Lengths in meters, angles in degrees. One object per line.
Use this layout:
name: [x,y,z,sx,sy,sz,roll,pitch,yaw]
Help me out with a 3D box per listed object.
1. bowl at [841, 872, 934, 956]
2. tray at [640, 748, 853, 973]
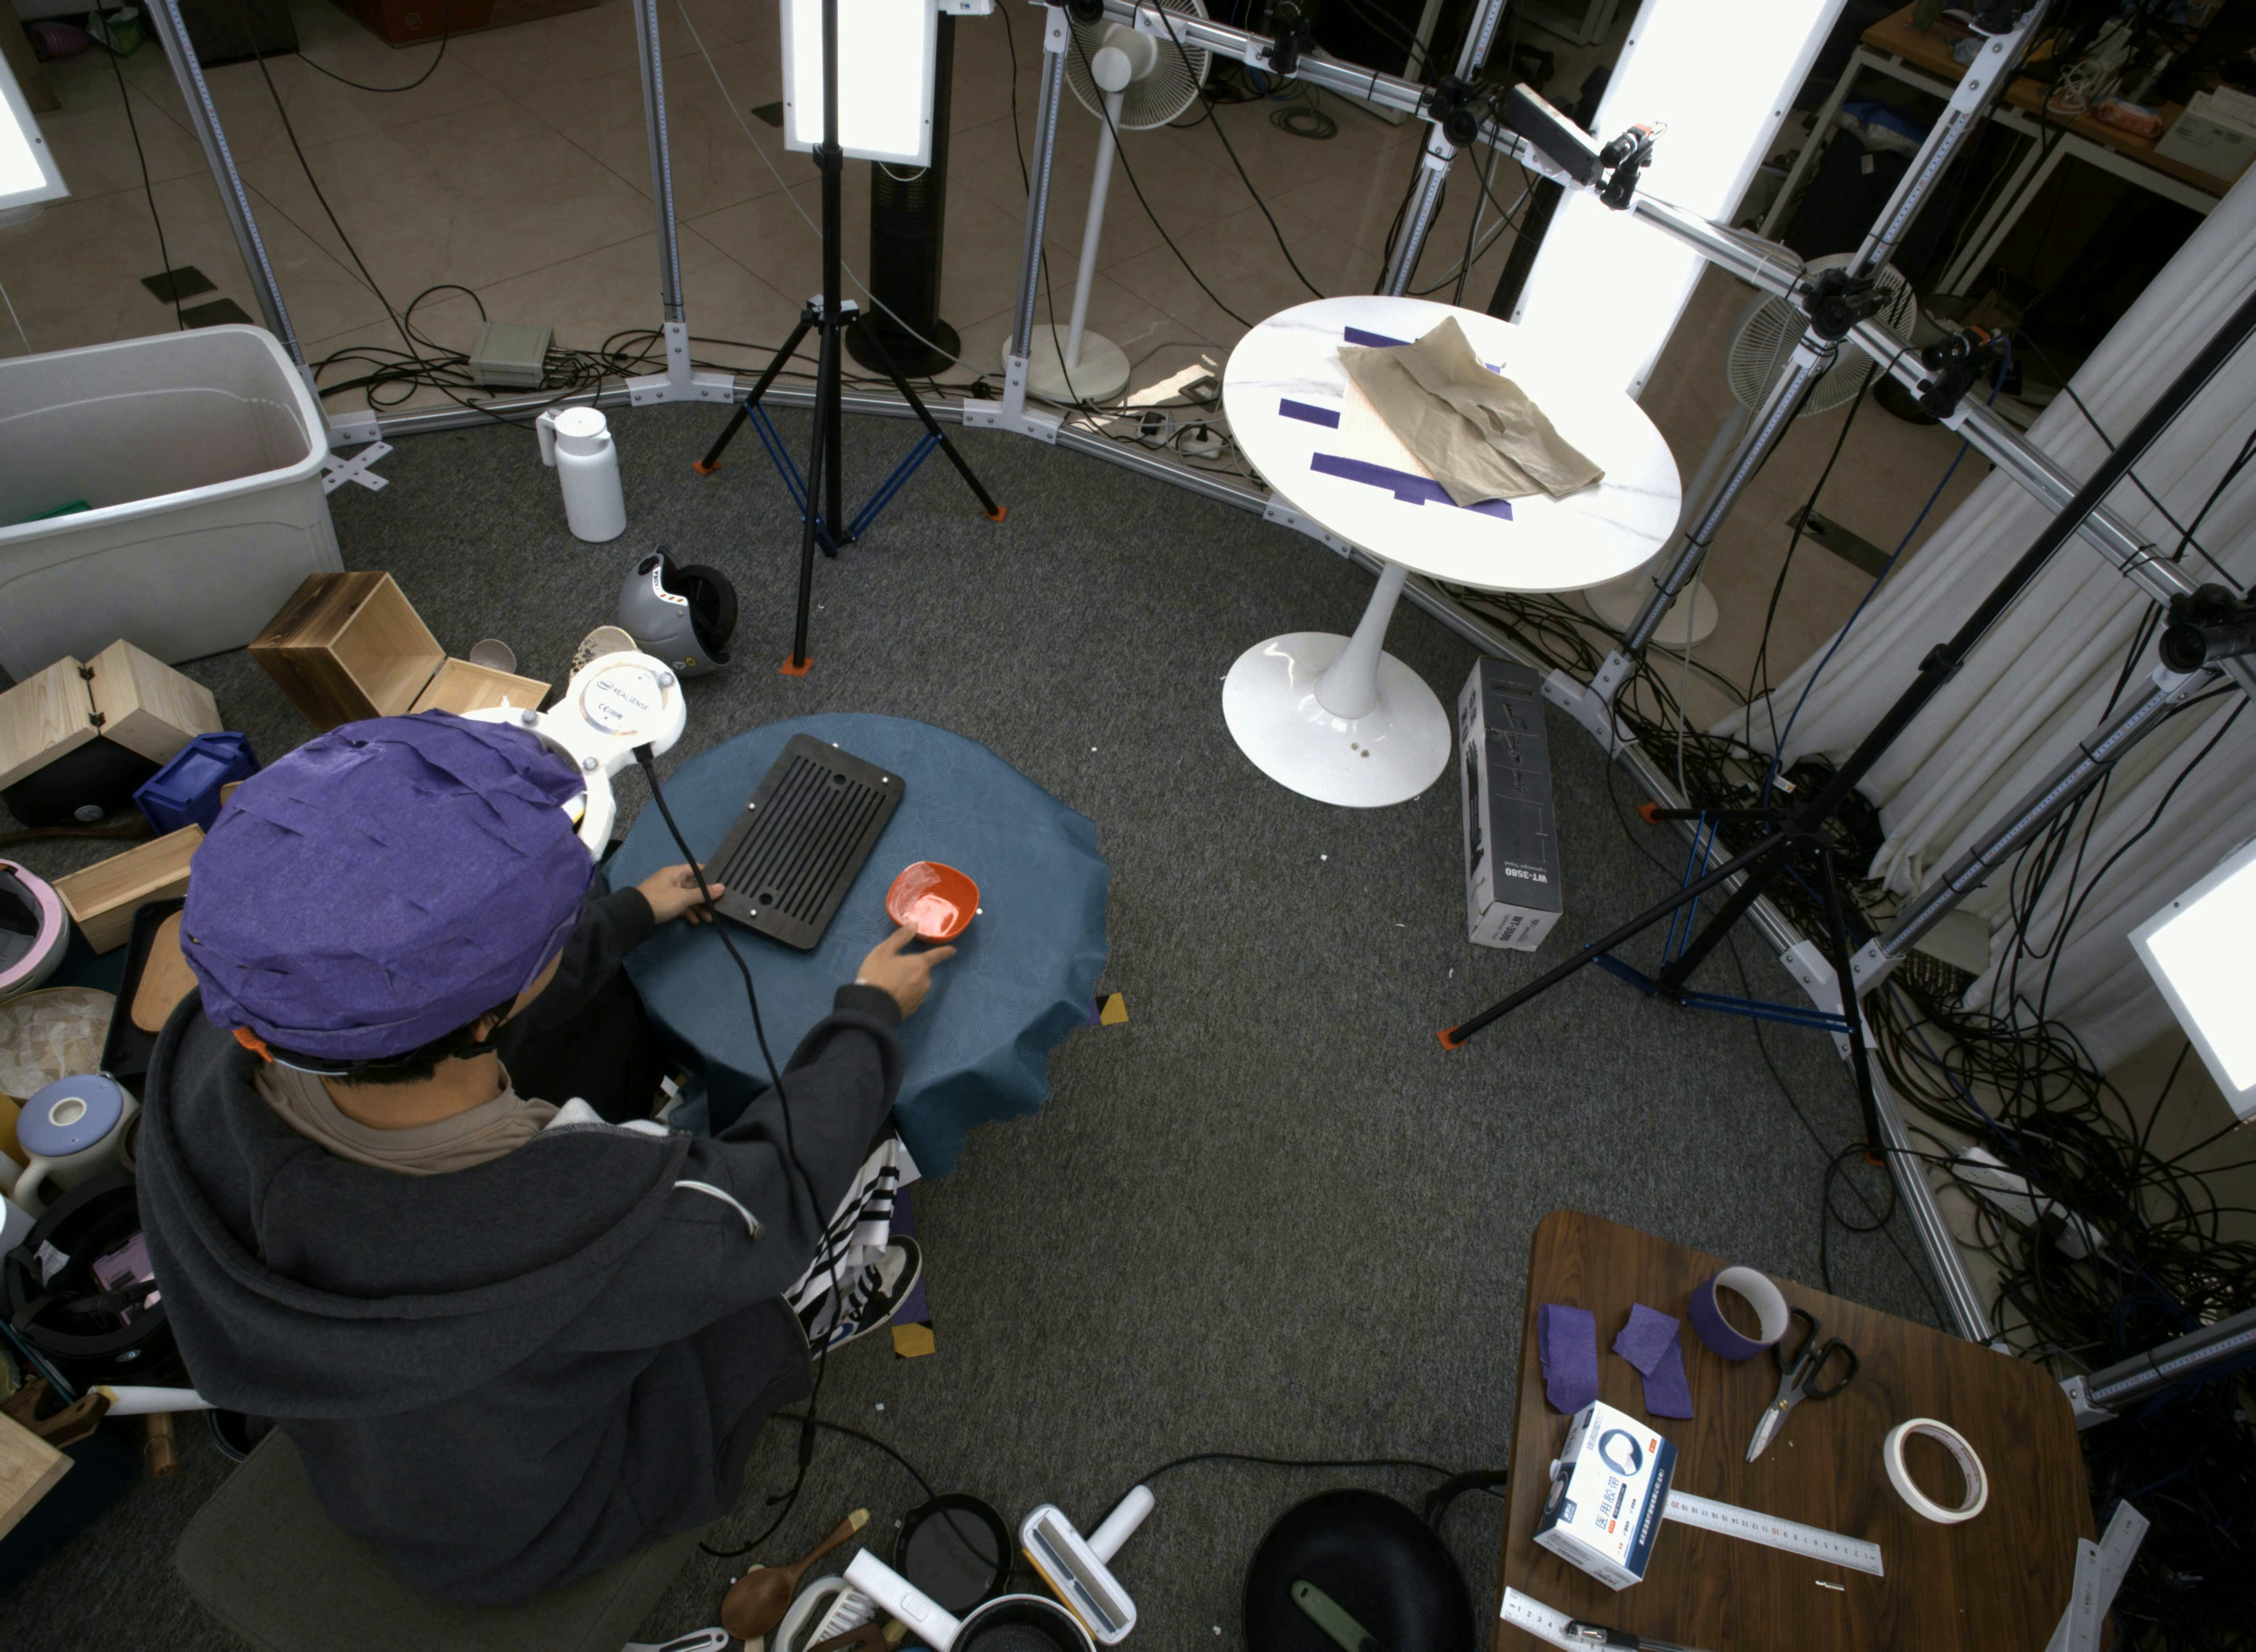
bowl: [-0.304,0.117,1.635,0.119,0.052,0.116,10,48,-10]
tray: [-0.485,0.037,1.661,0.170,0.019,0.302,23,52,-7]
